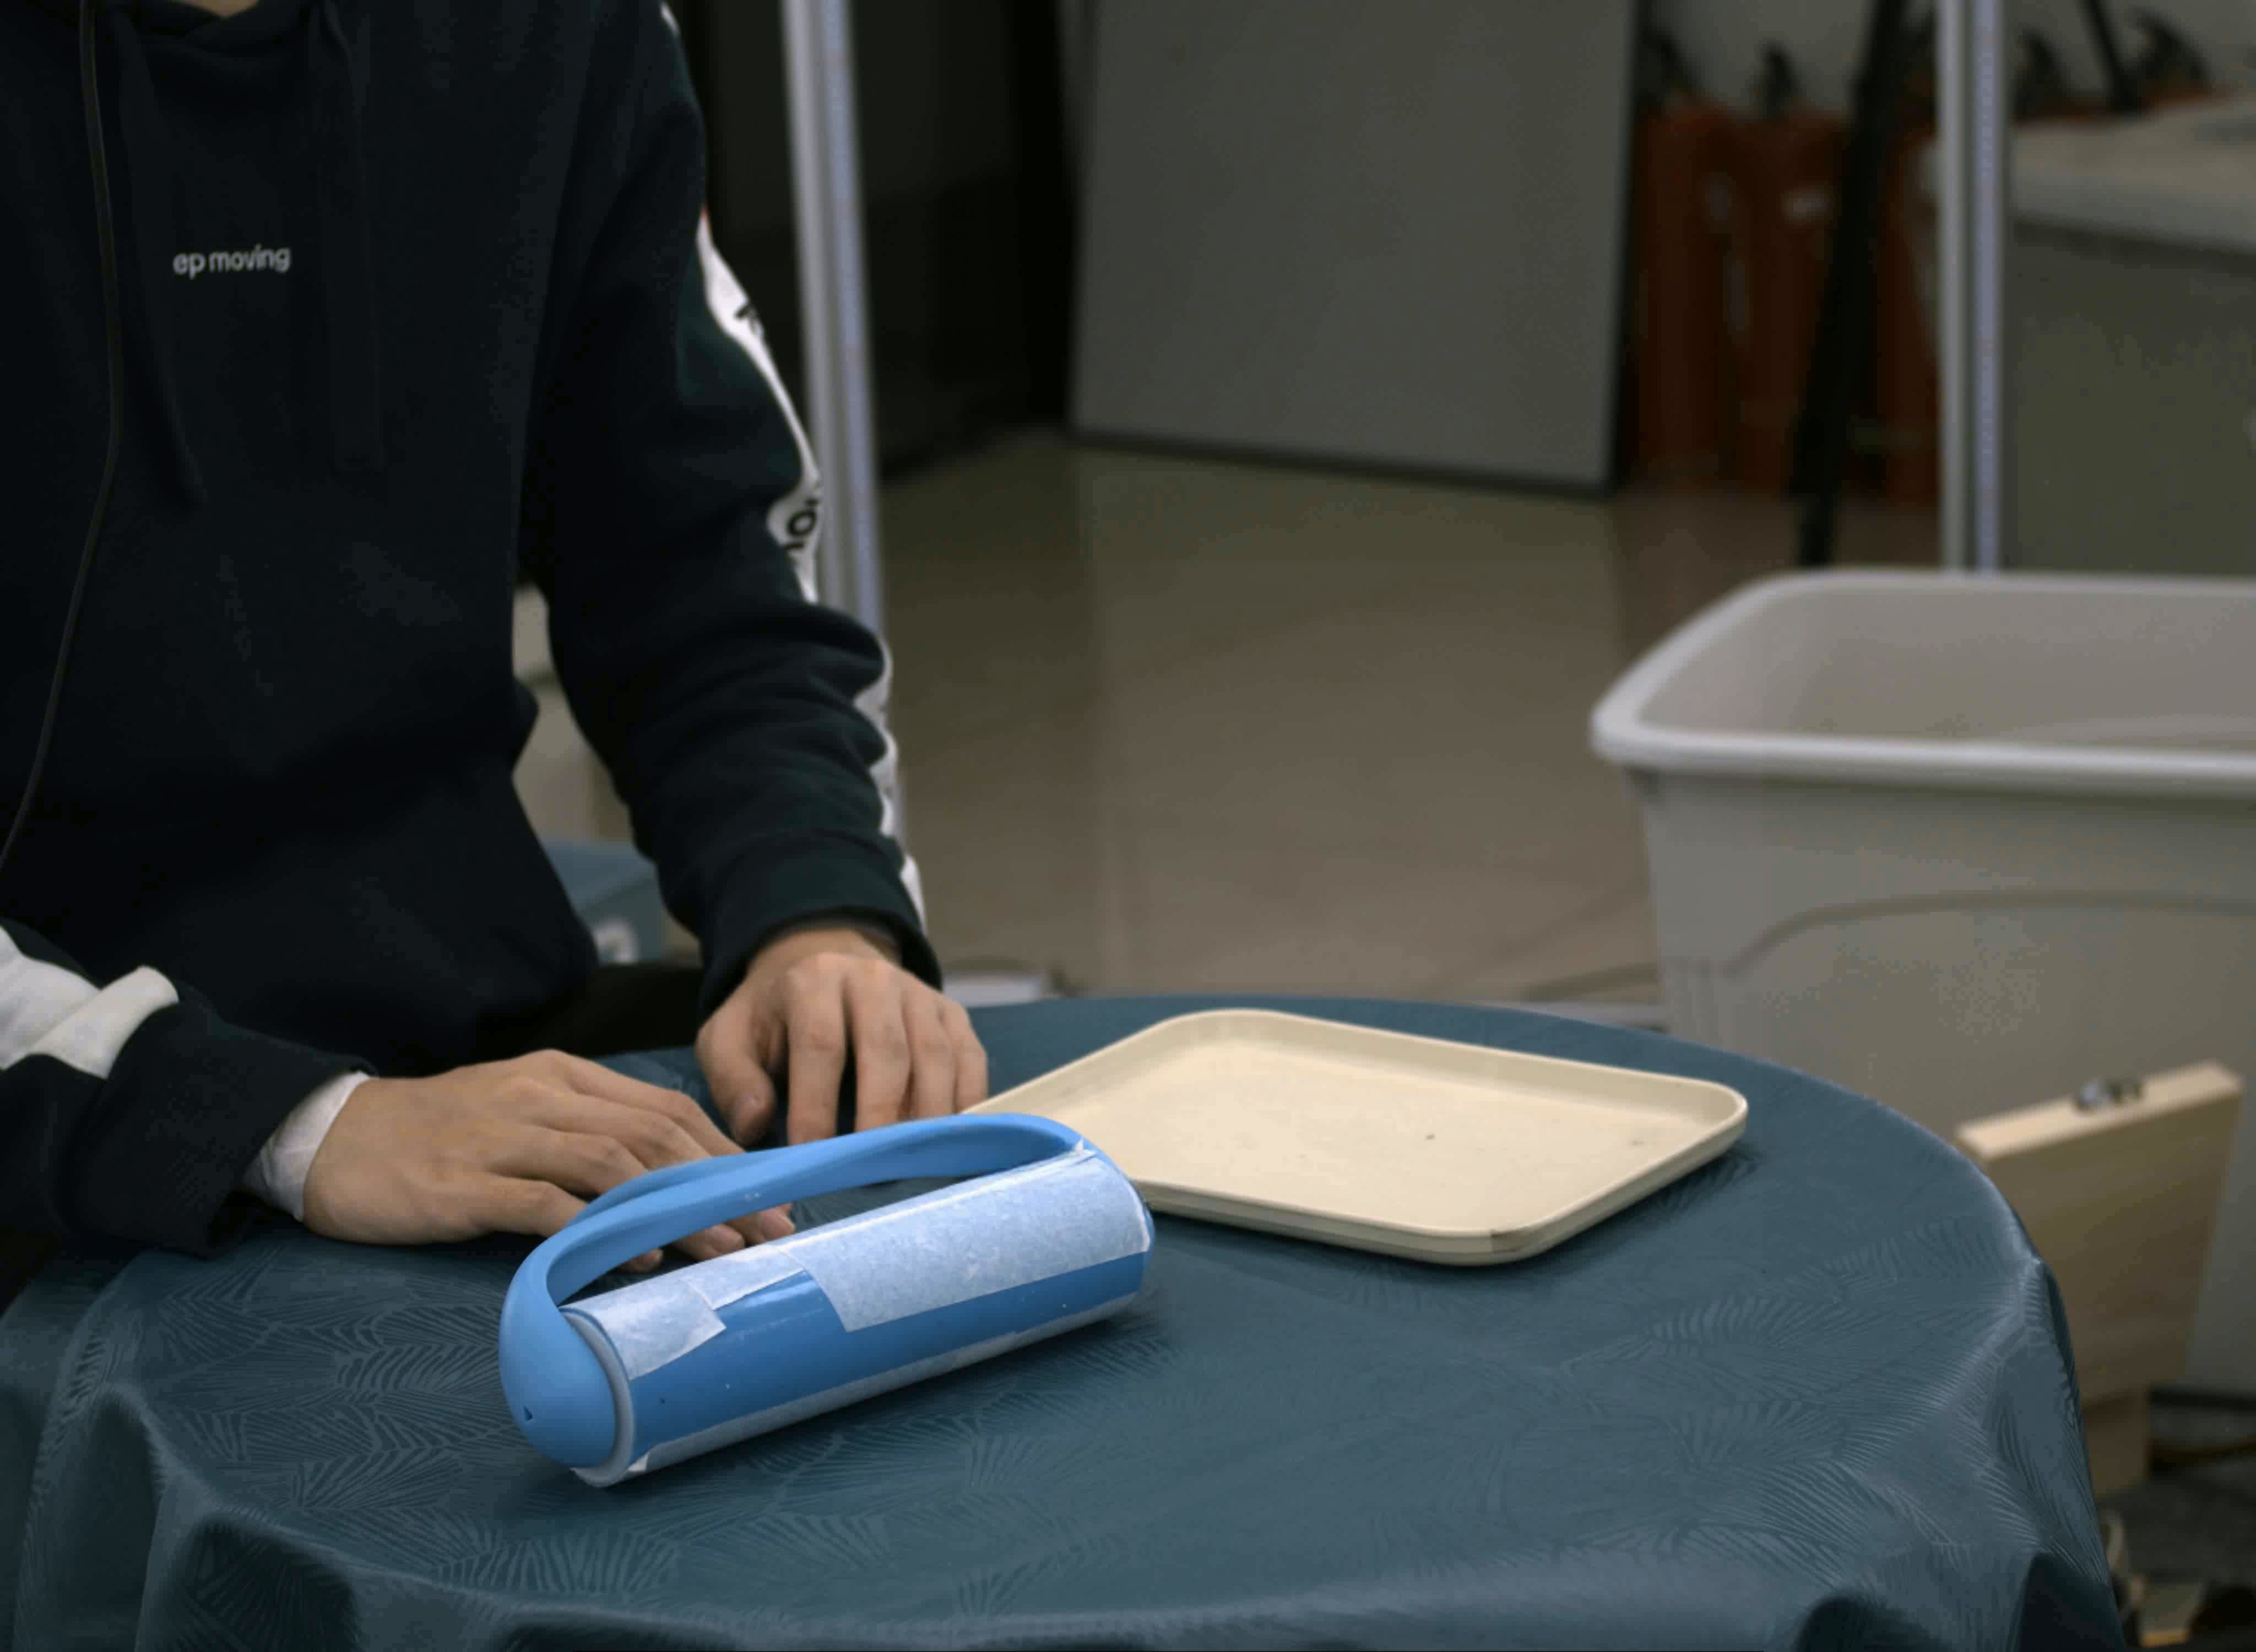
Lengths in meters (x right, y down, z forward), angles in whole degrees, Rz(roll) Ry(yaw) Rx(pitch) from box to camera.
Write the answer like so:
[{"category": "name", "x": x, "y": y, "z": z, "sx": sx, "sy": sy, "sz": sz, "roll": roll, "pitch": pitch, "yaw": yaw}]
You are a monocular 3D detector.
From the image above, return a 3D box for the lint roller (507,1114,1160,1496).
[{"category": "lint roller", "x": -0.121, "y": 0.134, "z": 1.636, "sx": 0.224, "sy": 0.068, "sz": 0.182, "roll": -18, "pitch": 21, "yaw": -39}]

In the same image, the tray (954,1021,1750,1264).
[{"category": "tray", "x": 0.074, "y": 0.104, "z": 1.782, "sx": 0.241, "sy": 0.017, "sz": 0.168, "roll": 7, "pitch": 17, "yaw": 38}]
